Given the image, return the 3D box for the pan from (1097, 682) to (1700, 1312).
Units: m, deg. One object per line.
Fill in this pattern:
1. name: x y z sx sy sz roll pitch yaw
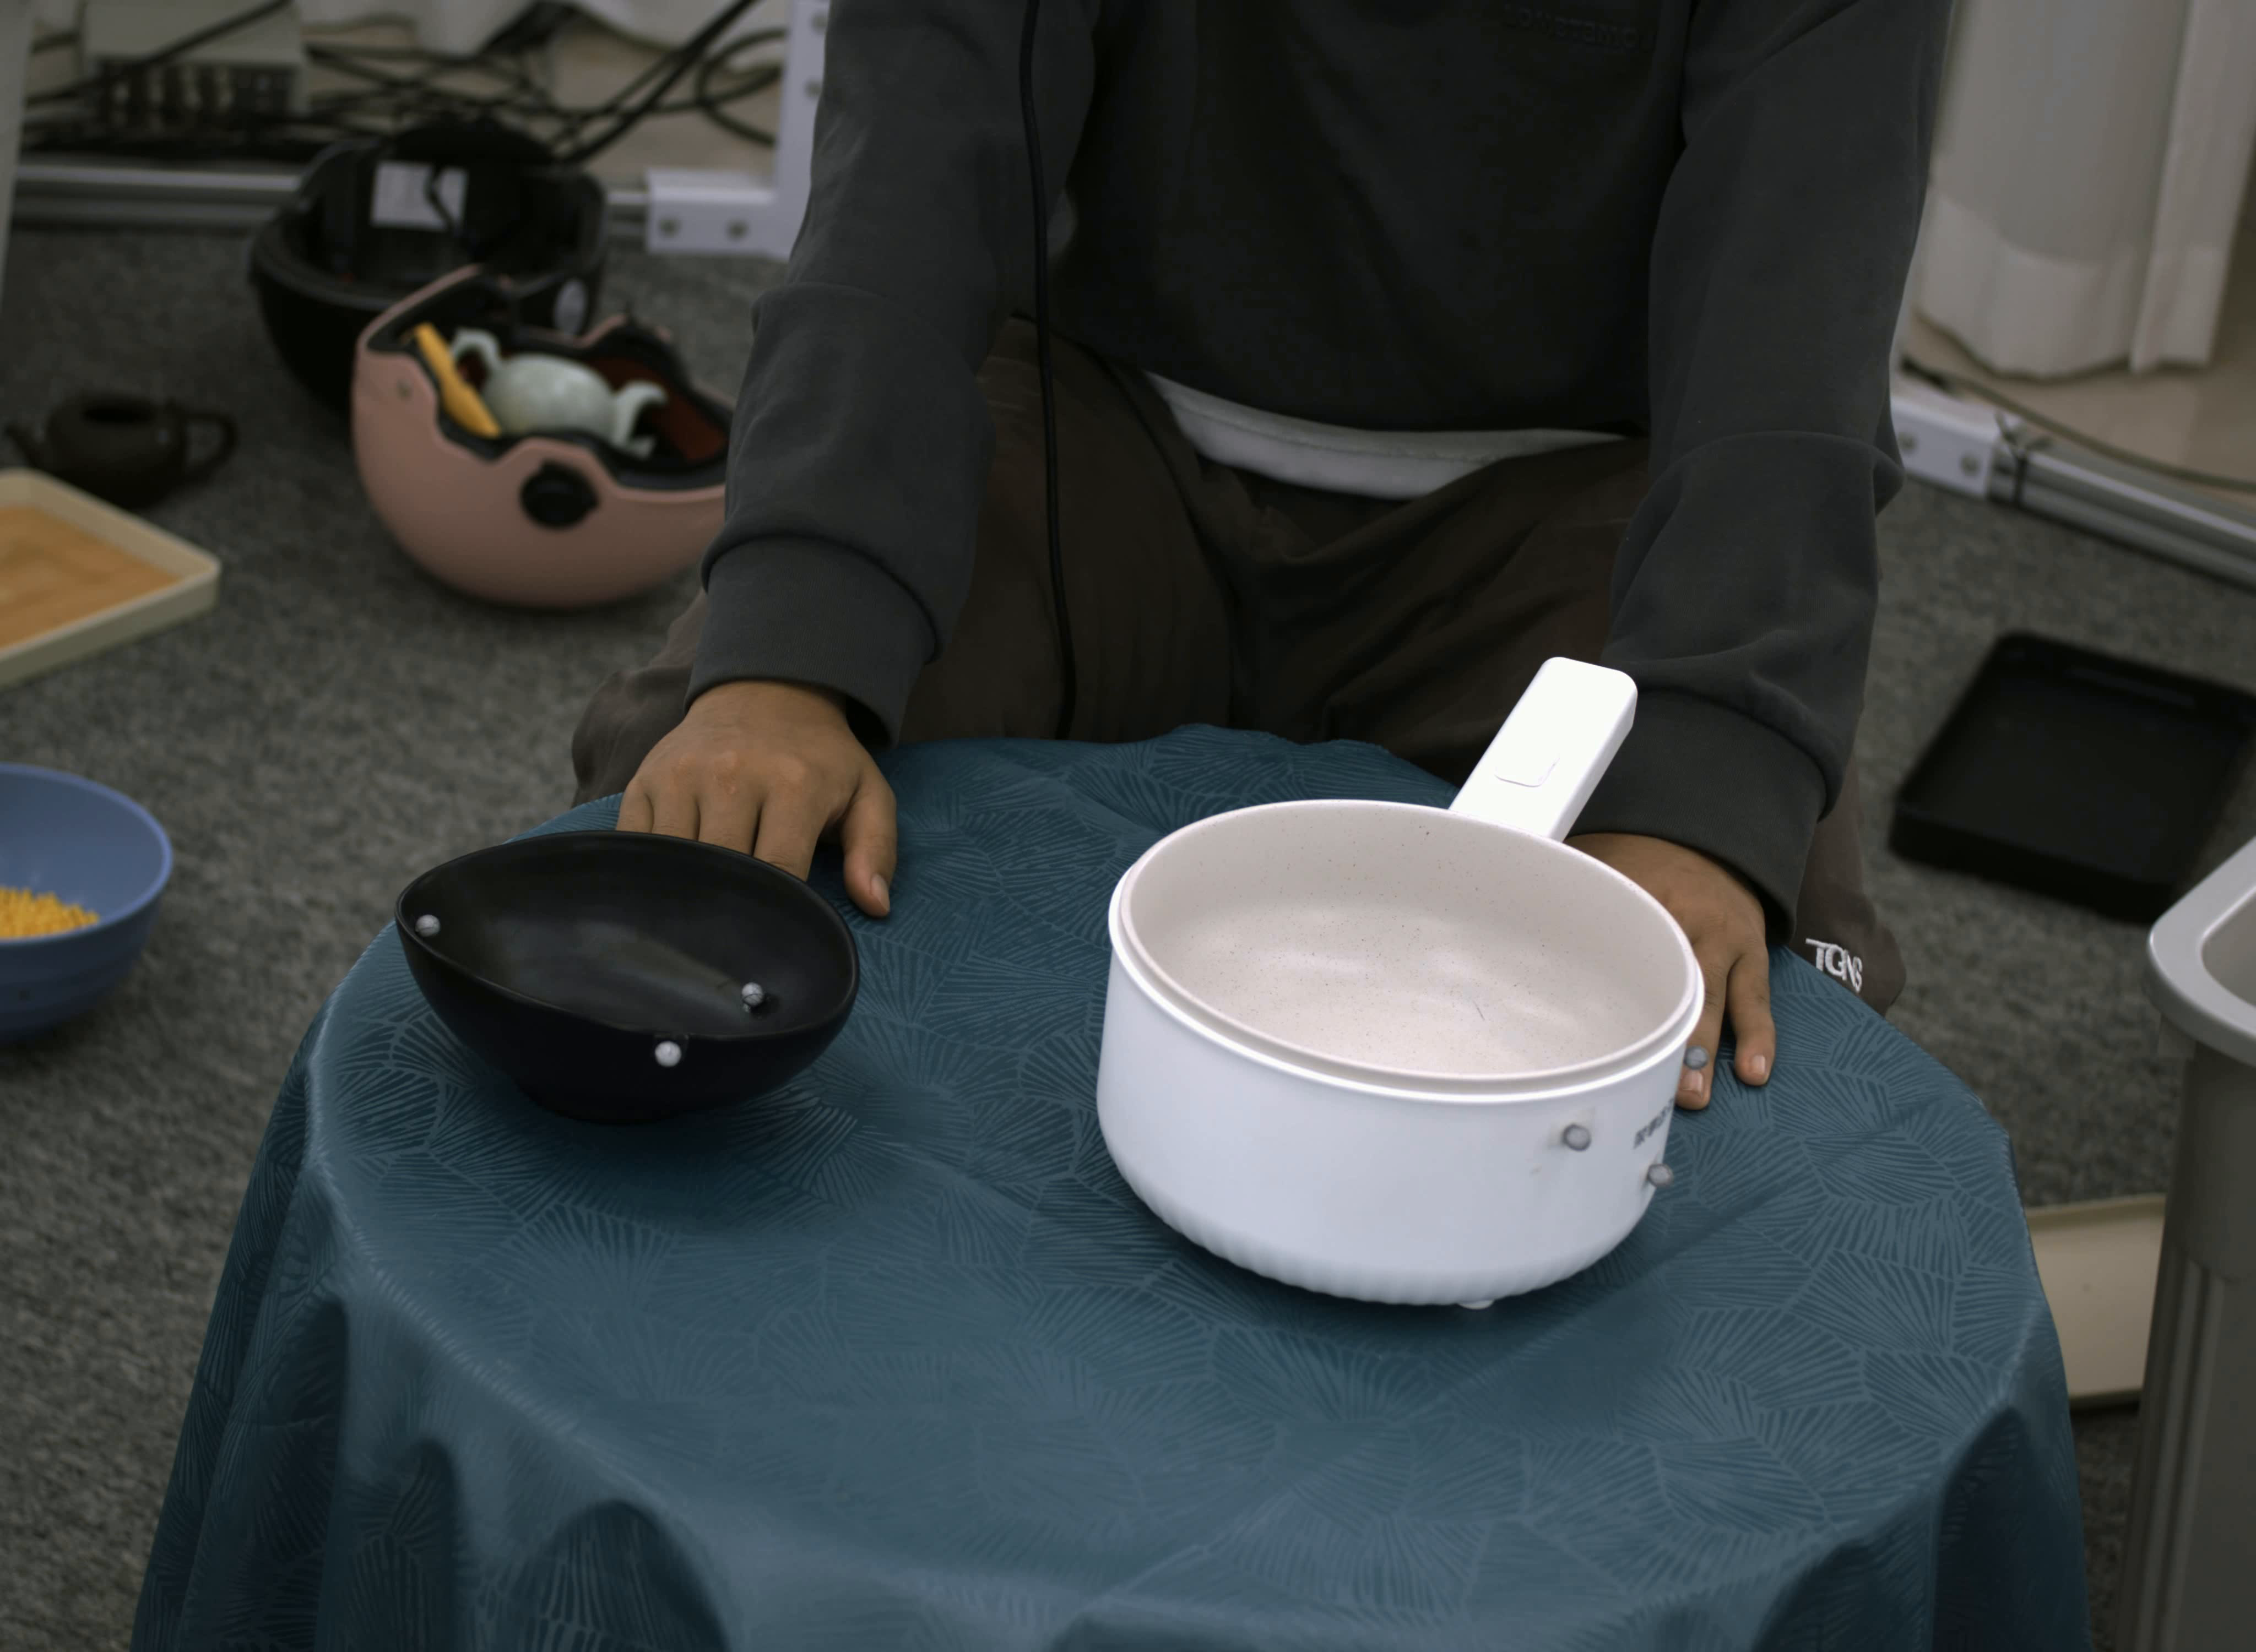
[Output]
1. pan: 0.112 0.055 1.871 0.201 0.102 0.355 12 25 15

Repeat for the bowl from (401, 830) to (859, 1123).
1. bowl: -0.173 0.059 1.821 0.171 0.066 0.137 19 29 26
